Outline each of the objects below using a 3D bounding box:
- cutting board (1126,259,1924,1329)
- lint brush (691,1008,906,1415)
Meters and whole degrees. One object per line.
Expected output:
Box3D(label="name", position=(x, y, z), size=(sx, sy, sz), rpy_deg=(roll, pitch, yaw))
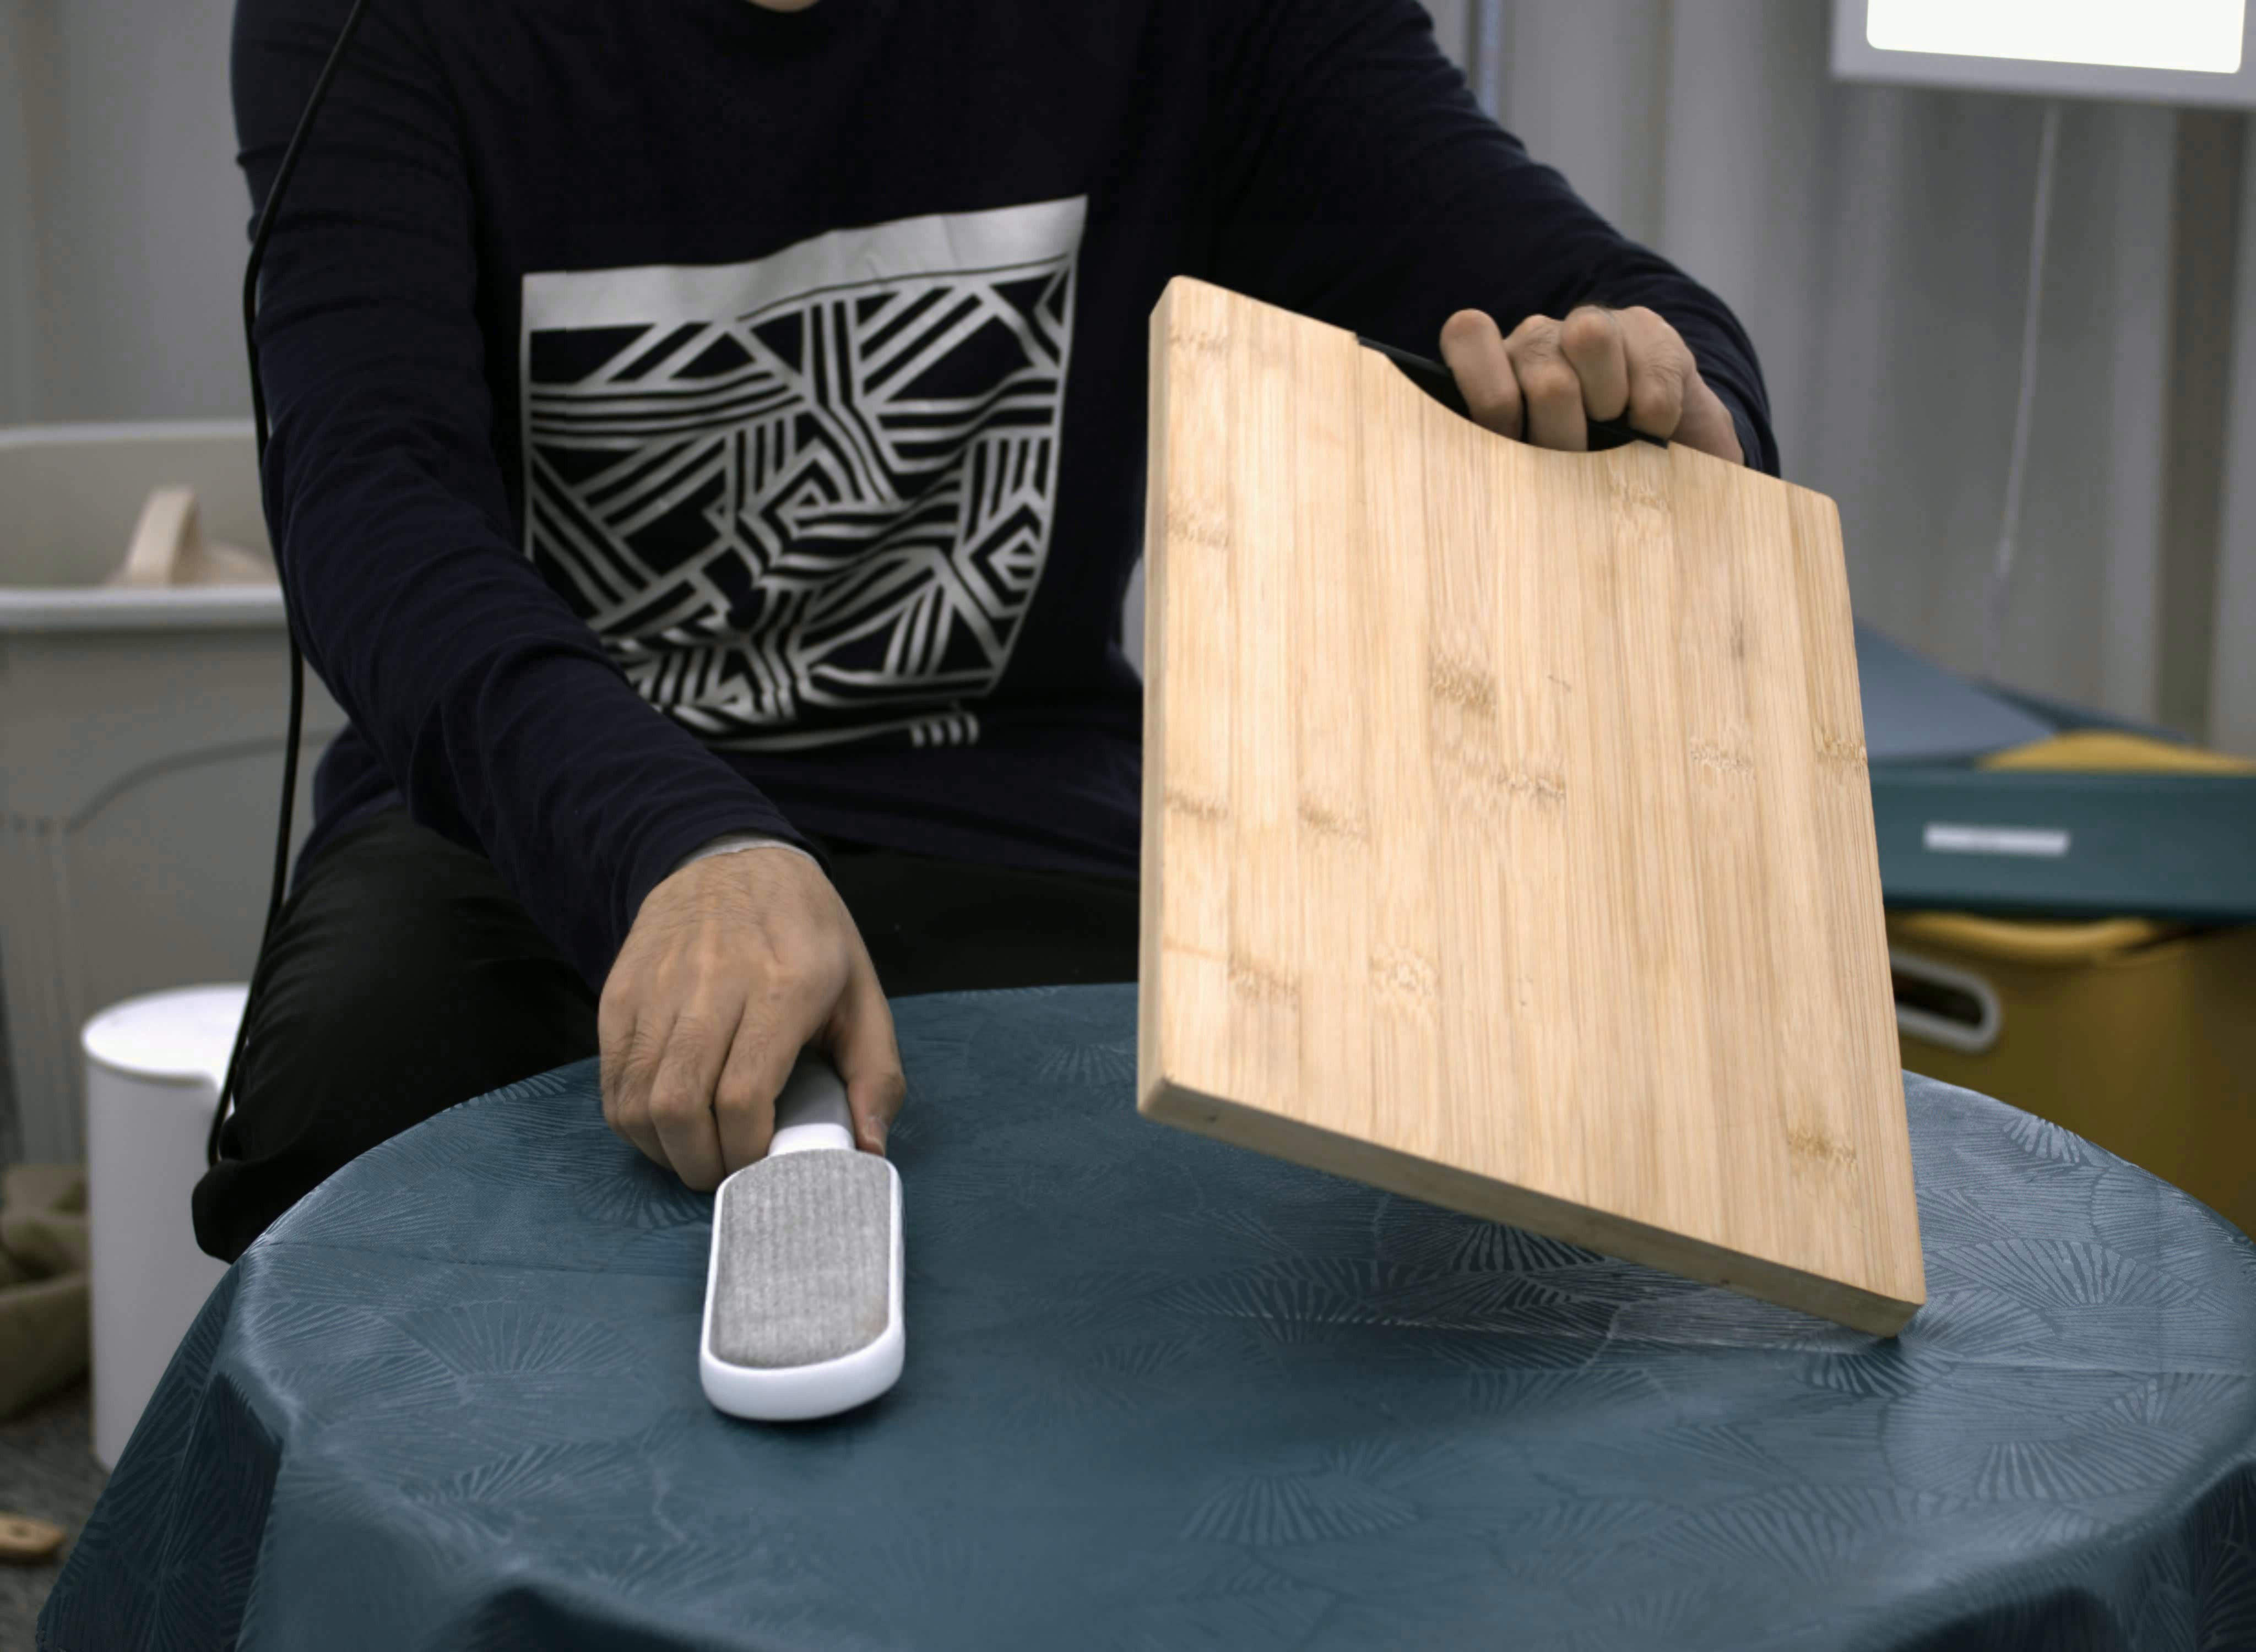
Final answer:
Box3D(label="cutting board", position=(0.117, -0.017, 1.589), size=(0.252, 0.023, 0.345), rpy_deg=(17, 44, -18))
Box3D(label="lint brush", position=(-0.094, 0.110, 1.569), size=(0.060, 0.021, 0.307), rpy_deg=(-10, 17, 1))
